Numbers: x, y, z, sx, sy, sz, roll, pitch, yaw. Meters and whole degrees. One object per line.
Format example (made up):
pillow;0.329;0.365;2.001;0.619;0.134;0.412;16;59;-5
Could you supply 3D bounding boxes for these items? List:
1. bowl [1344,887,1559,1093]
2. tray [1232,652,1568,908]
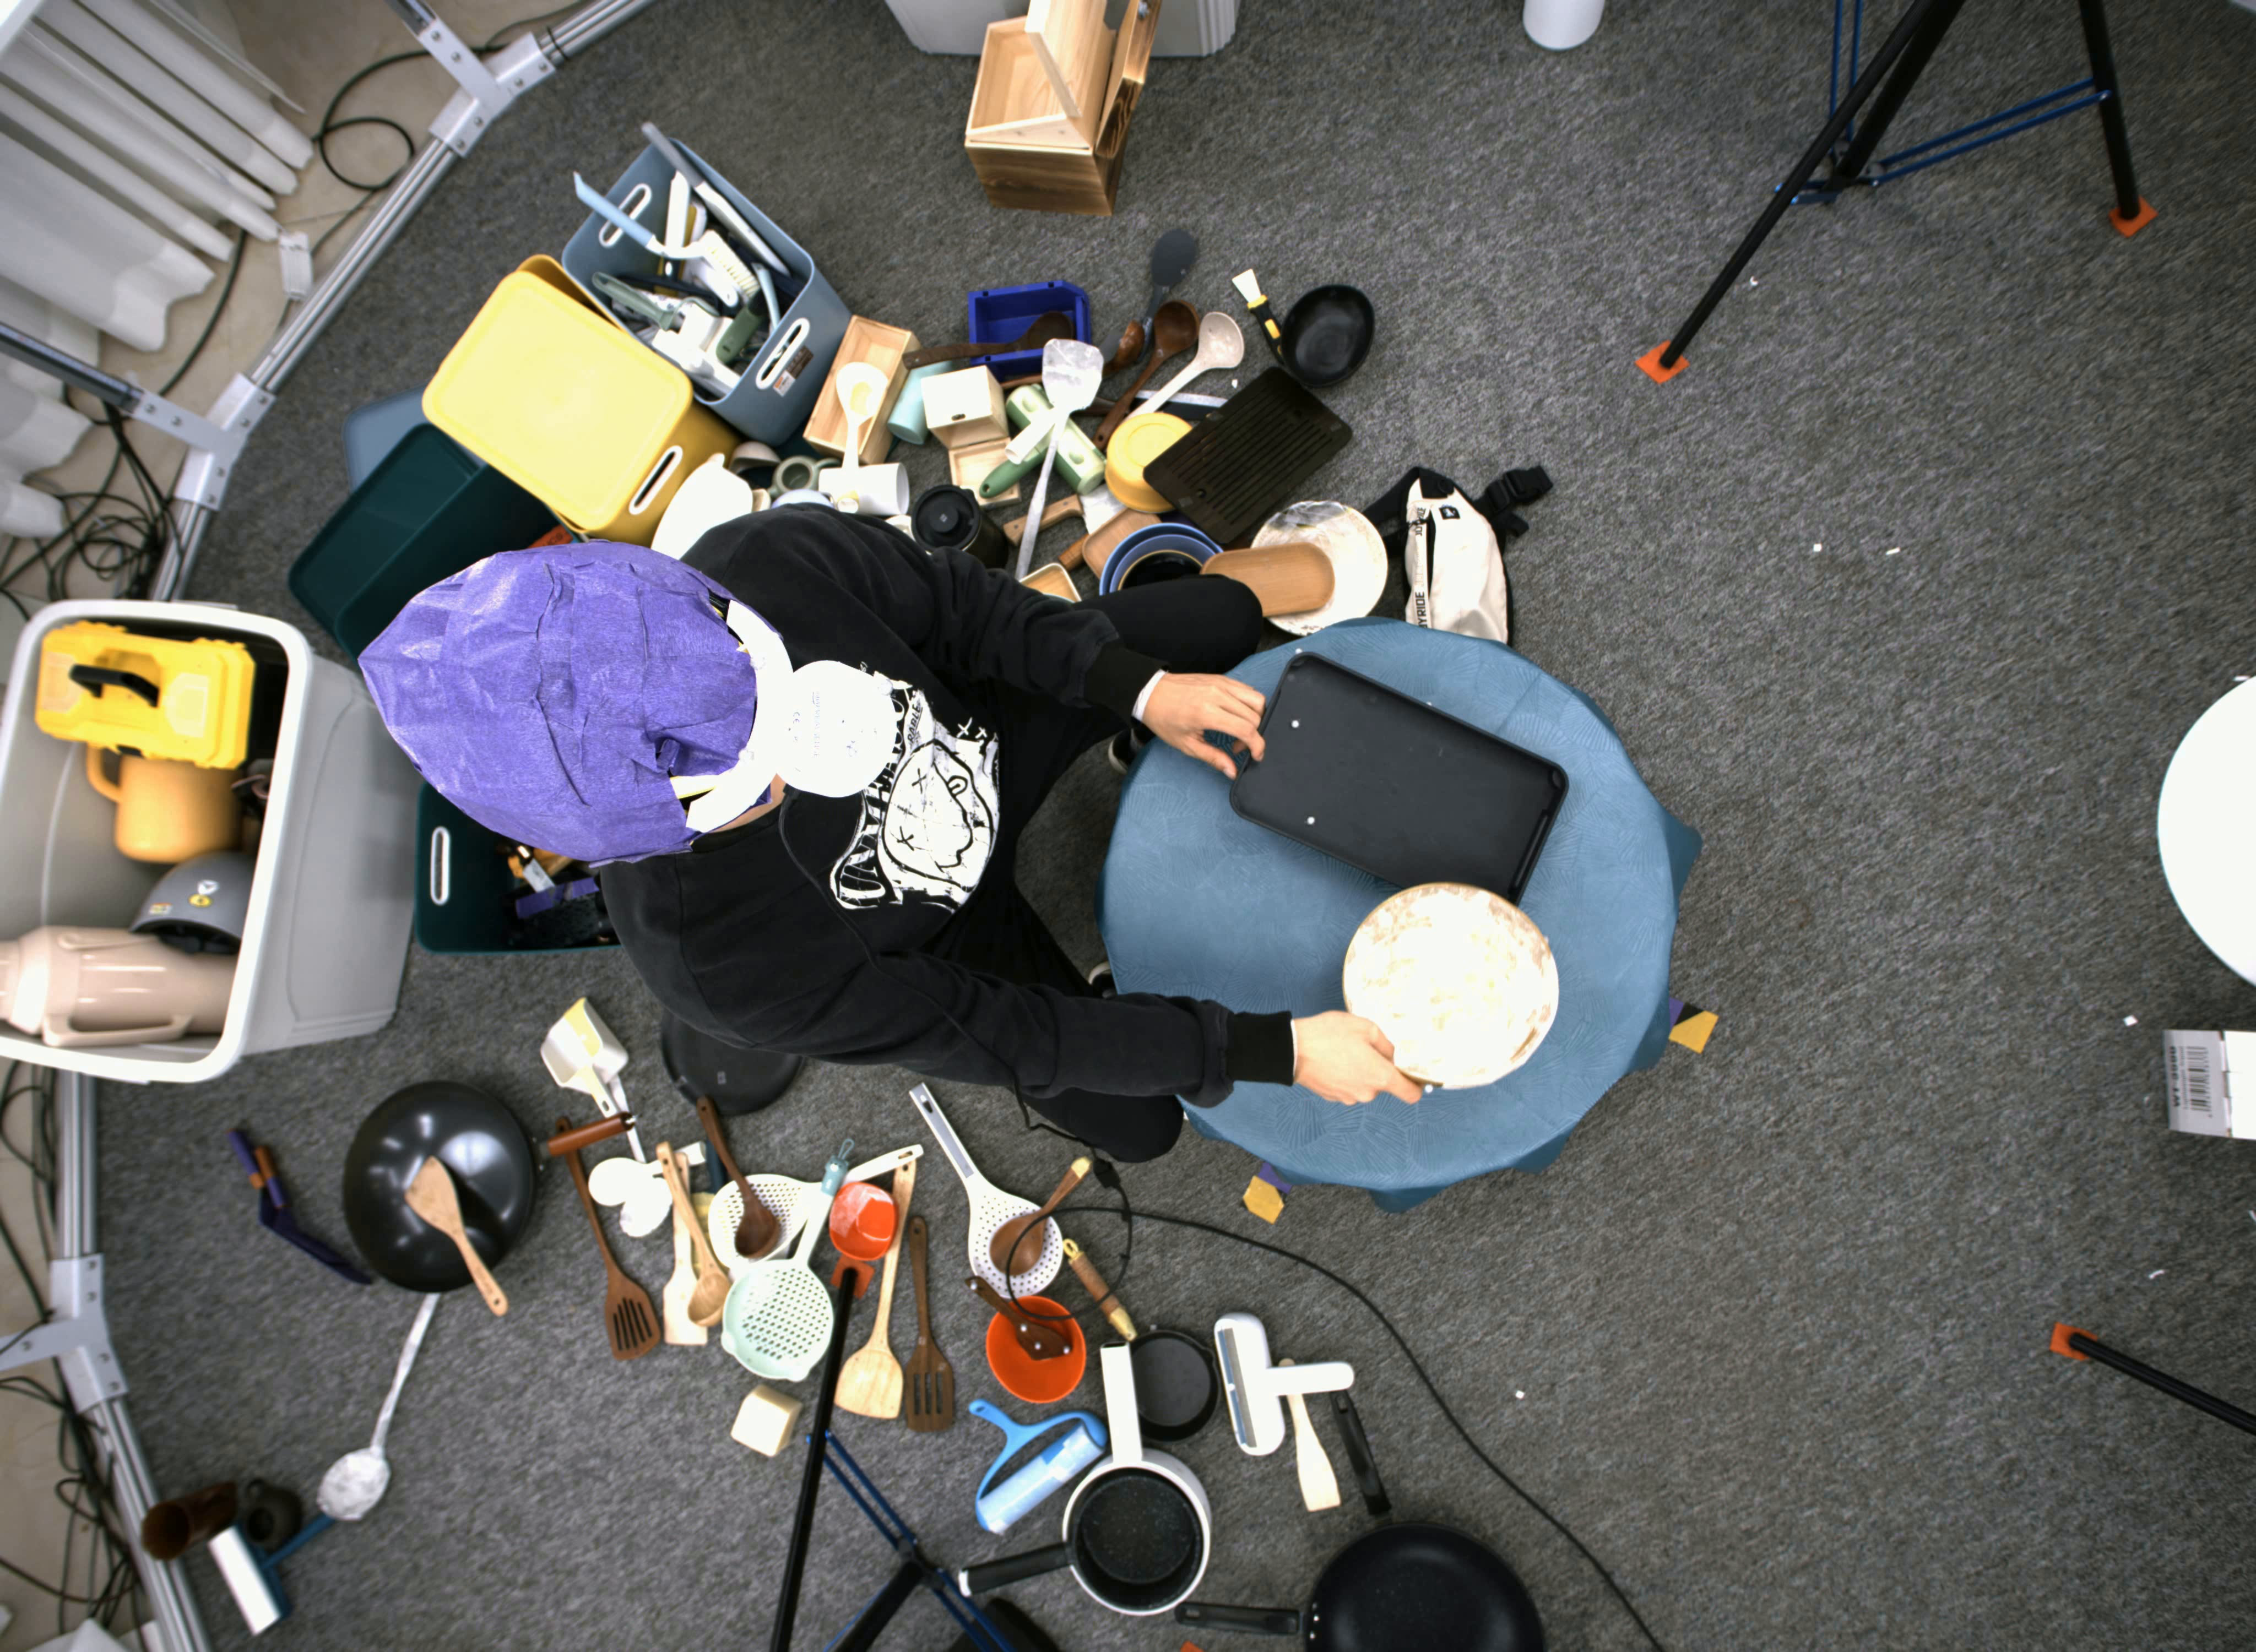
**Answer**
bowl;0.313;0.164;1.353;0.215;0.096;0.210;-5;67;10
tray;0.279;-0.034;1.419;0.318;0.037;0.184;26;90;-4
